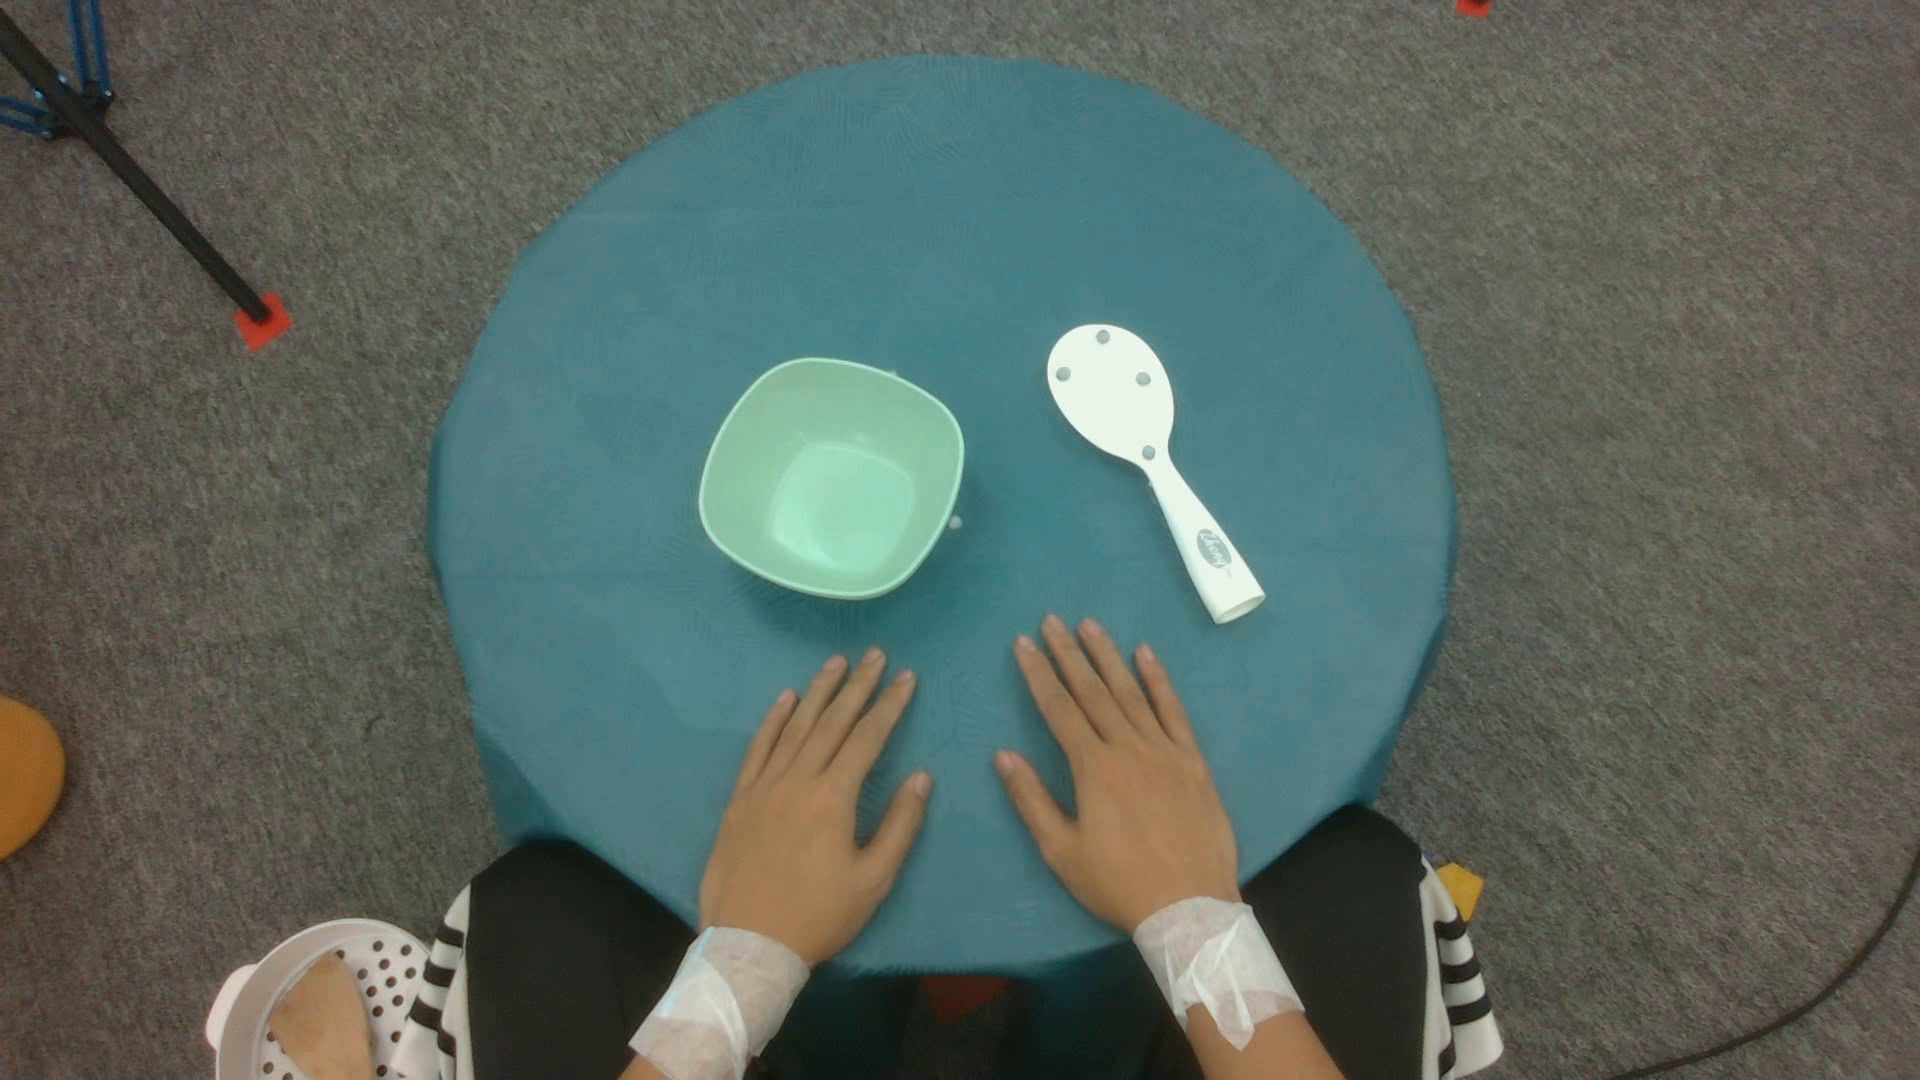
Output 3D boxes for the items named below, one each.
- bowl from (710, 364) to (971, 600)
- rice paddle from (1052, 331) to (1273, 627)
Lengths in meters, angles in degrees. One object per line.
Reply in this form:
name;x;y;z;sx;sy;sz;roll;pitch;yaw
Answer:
bowl;-0.066;-0.025;0.794;0.151;0.058;0.152;0;65;0
rice paddle;0.118;-0.043;0.811;0.069;0.029;0.205;-24;69;-10
